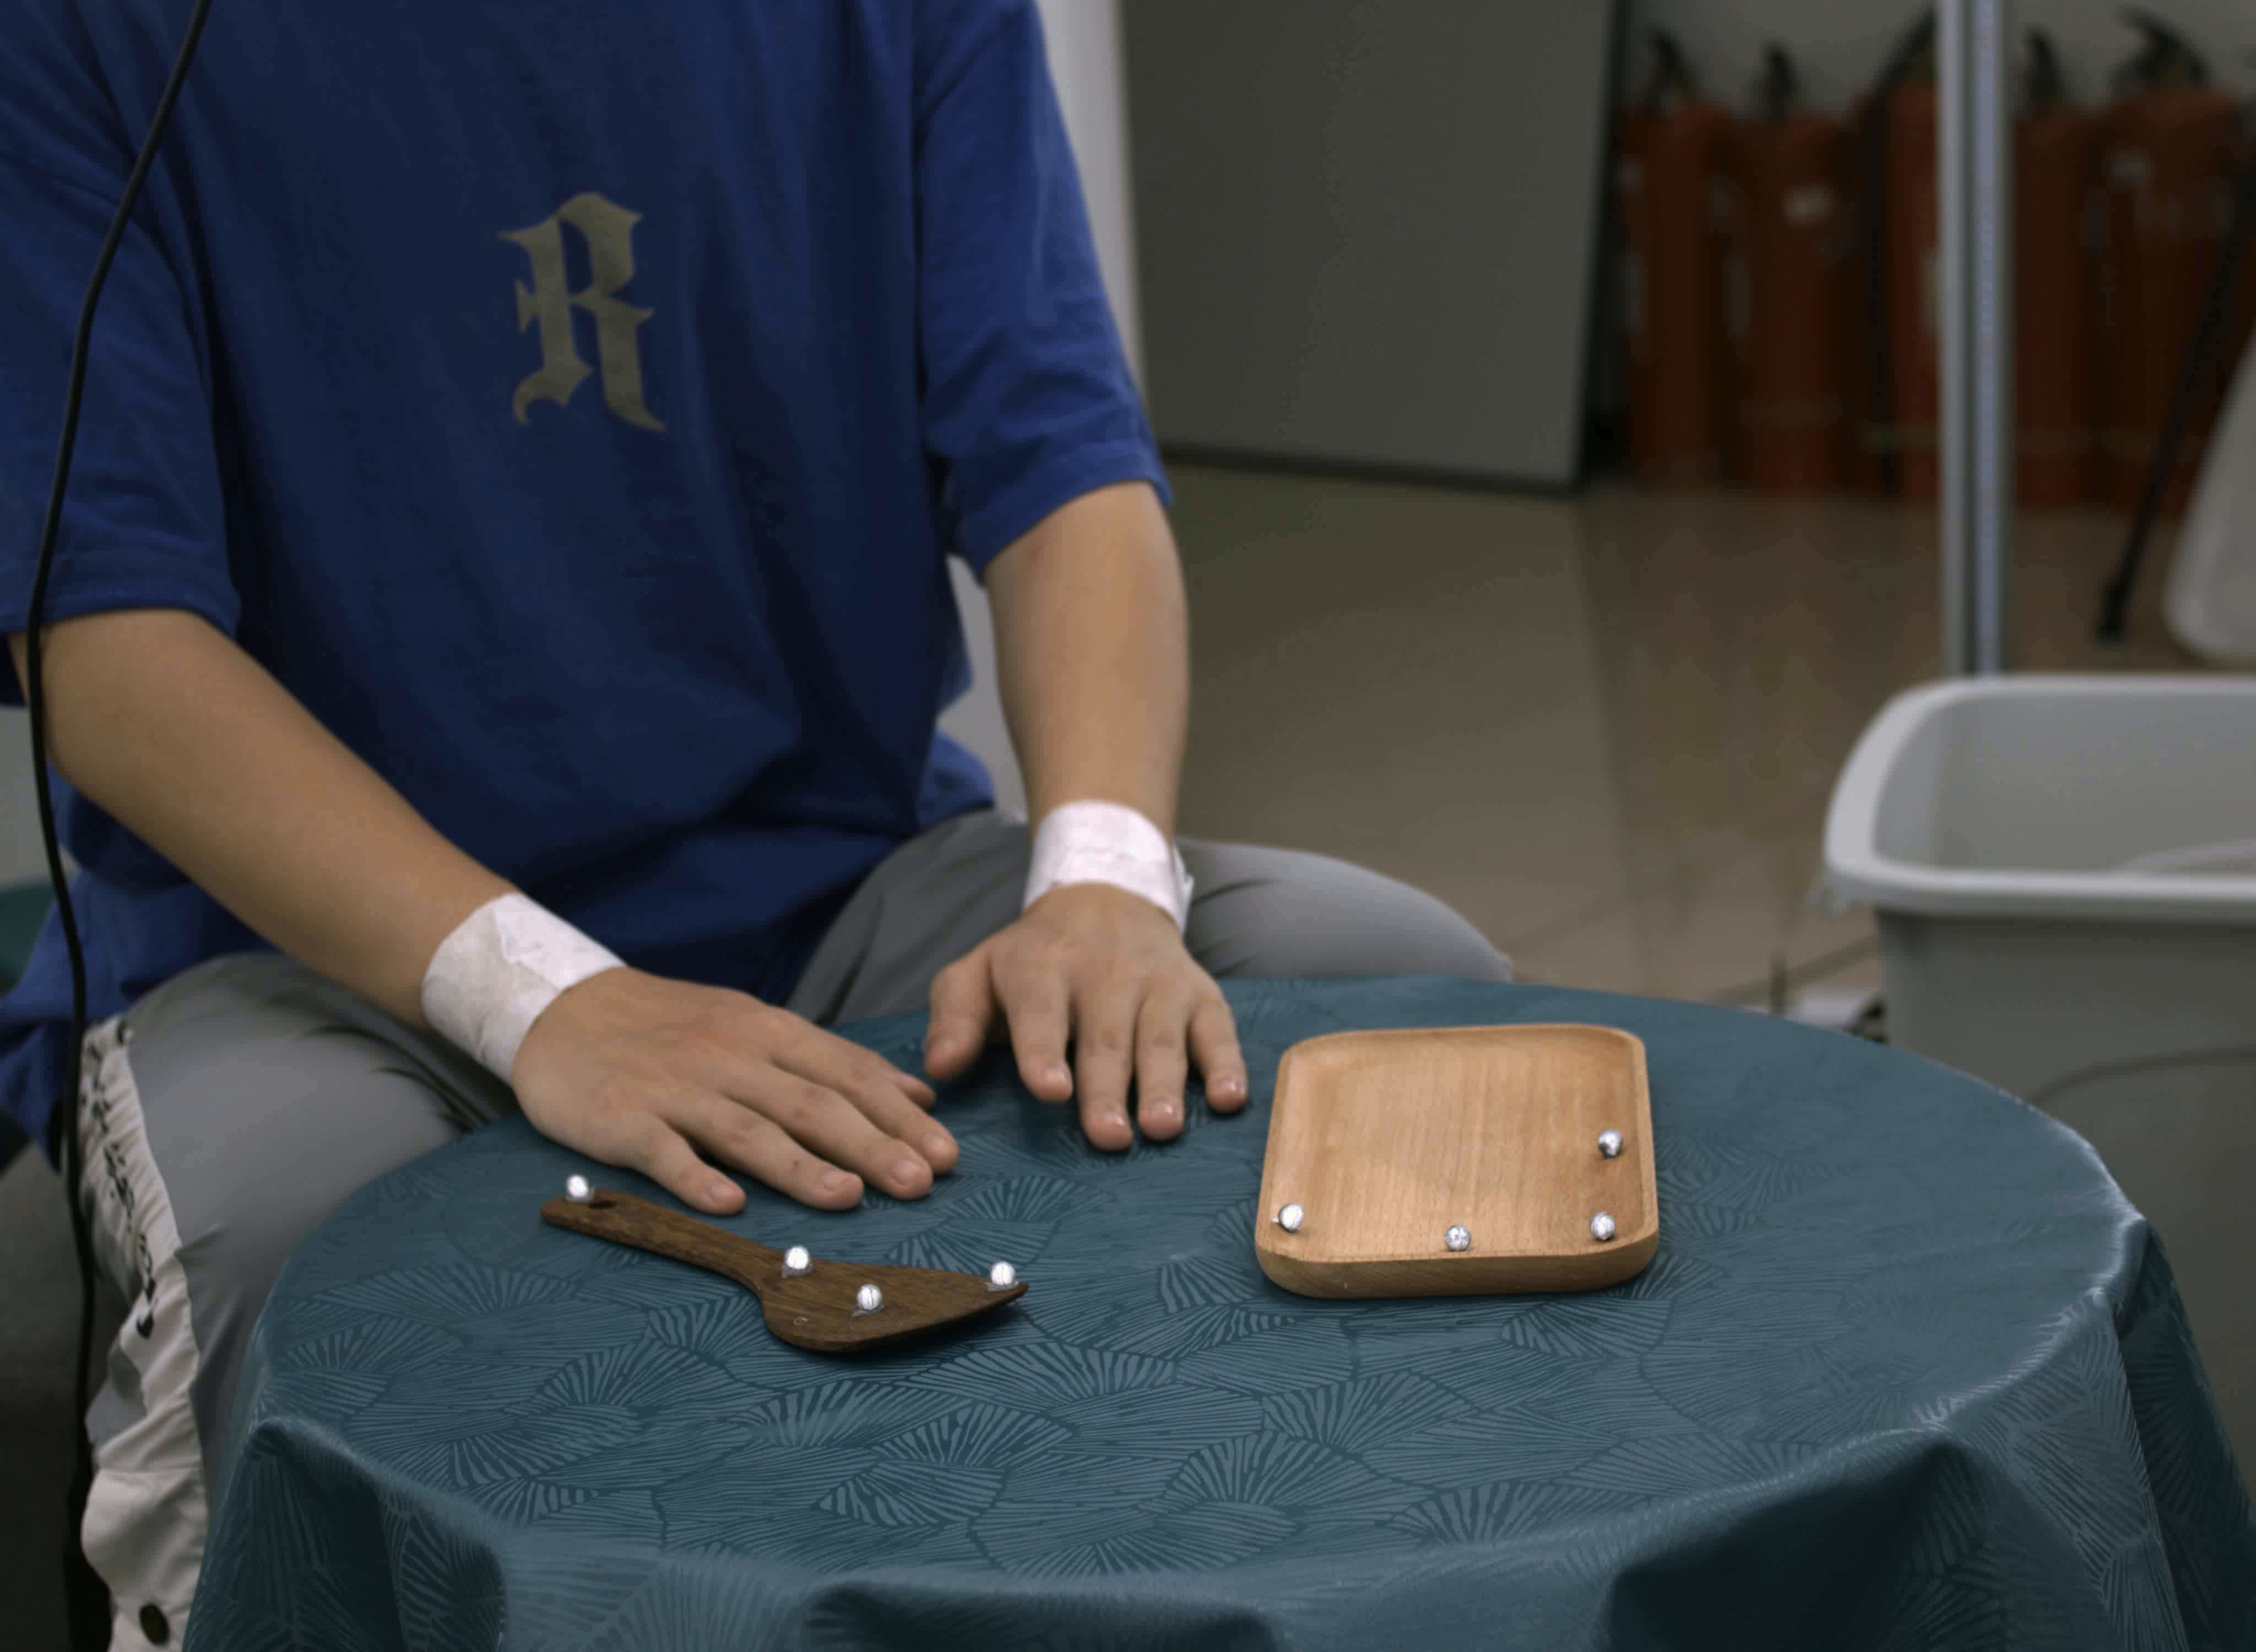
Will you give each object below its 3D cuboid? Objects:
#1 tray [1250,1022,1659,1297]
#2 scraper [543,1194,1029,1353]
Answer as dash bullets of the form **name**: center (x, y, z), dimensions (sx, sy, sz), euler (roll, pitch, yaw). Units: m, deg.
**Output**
- **tray**: center (0.109, 0.107, 1.762), dimensions (0.129, 0.023, 0.250), euler (0, 13, 6)
- **scraper**: center (-0.119, 0.140, 1.713), dimensions (0.074, 0.011, 0.213), euler (-13, 15, -37)
